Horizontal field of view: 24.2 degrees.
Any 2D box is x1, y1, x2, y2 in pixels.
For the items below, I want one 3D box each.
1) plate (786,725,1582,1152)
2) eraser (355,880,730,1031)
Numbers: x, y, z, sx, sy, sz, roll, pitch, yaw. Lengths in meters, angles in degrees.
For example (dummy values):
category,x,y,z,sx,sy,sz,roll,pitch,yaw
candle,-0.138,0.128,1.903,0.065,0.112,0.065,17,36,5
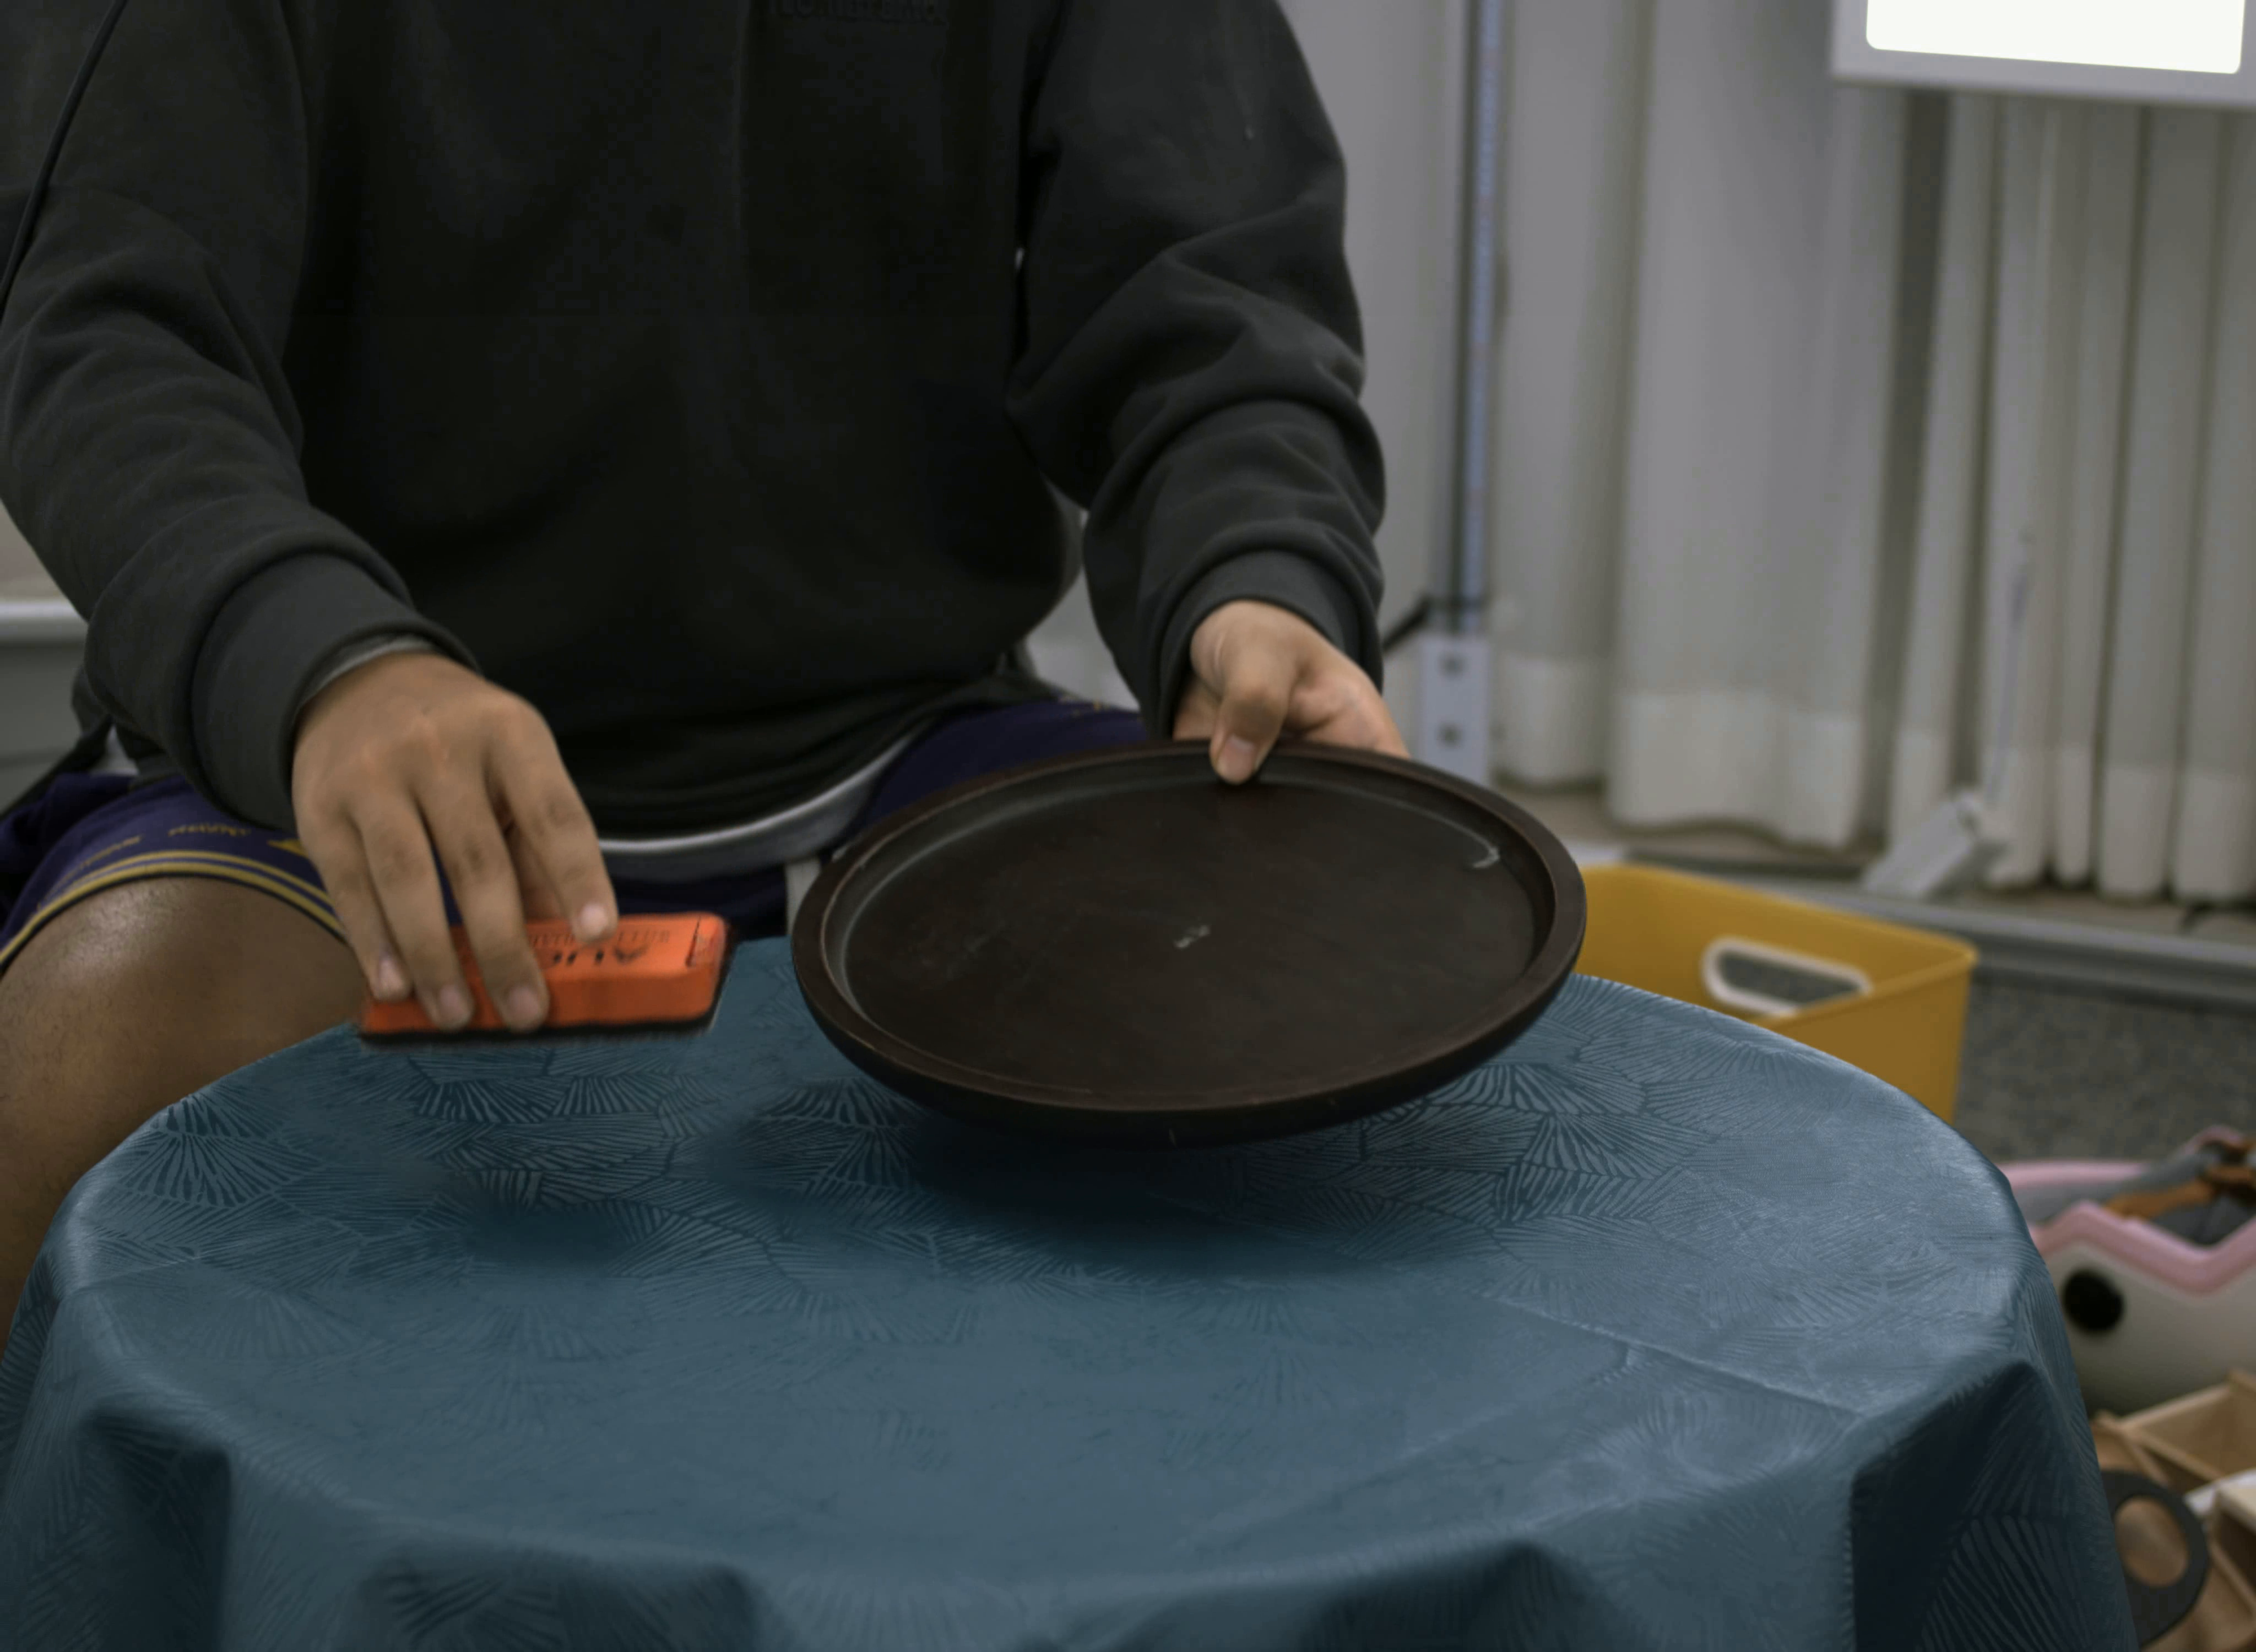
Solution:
category,x,y,z,sx,sy,sz,roll,pitch,yaw
plate,0.018,0.033,1.672,0.254,0.029,0.253,-4,28,3
eraser,-0.177,0.039,1.598,0.107,0.023,0.058,-3,20,3
